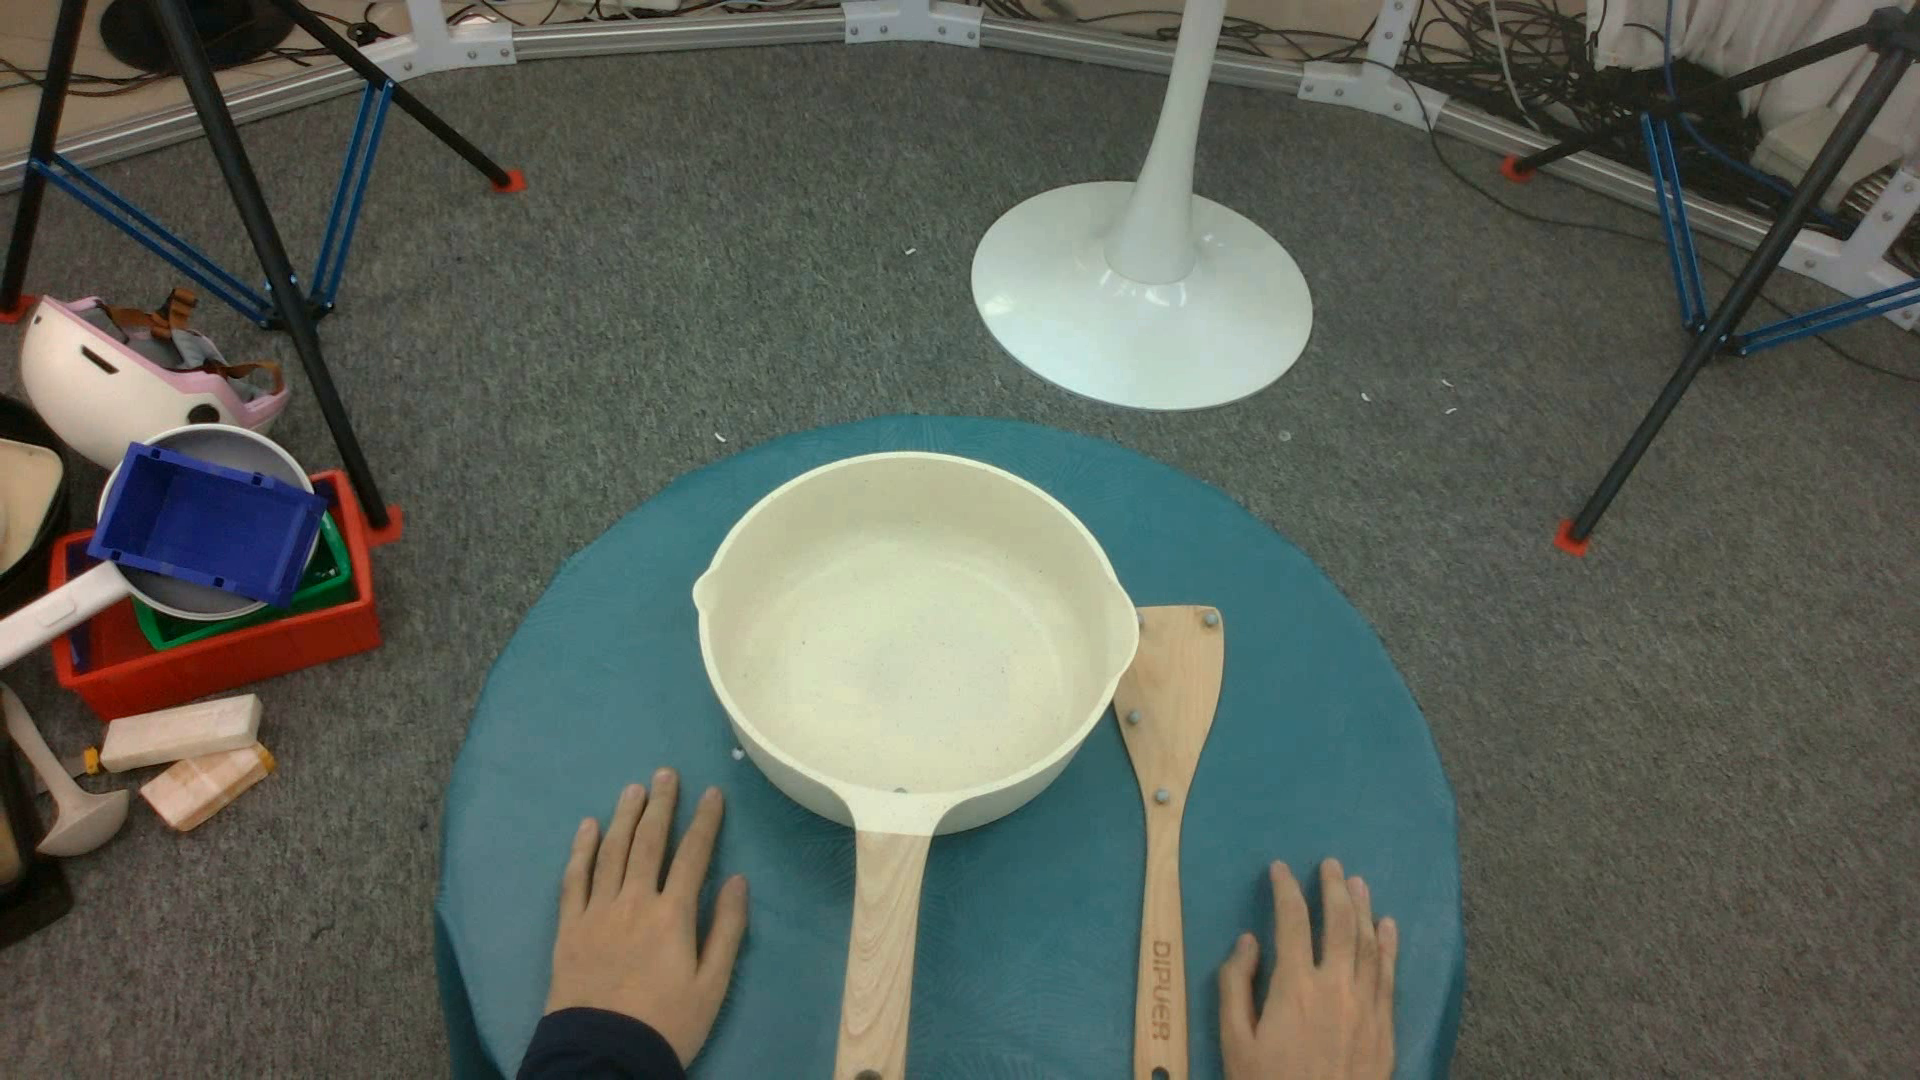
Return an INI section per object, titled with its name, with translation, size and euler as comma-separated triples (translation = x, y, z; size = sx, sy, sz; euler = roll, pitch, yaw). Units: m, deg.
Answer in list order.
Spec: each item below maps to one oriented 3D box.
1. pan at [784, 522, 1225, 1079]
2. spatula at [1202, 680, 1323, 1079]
[pan]
translation = 0.014, 0.173, 0.780
size = 0.263, 0.101, 0.437
euler = 6, 49, 2
[spatula]
translation = 0.173, 0.214, 0.805
size = 0.080, 0.016, 0.329
euler = 8, 49, 5
